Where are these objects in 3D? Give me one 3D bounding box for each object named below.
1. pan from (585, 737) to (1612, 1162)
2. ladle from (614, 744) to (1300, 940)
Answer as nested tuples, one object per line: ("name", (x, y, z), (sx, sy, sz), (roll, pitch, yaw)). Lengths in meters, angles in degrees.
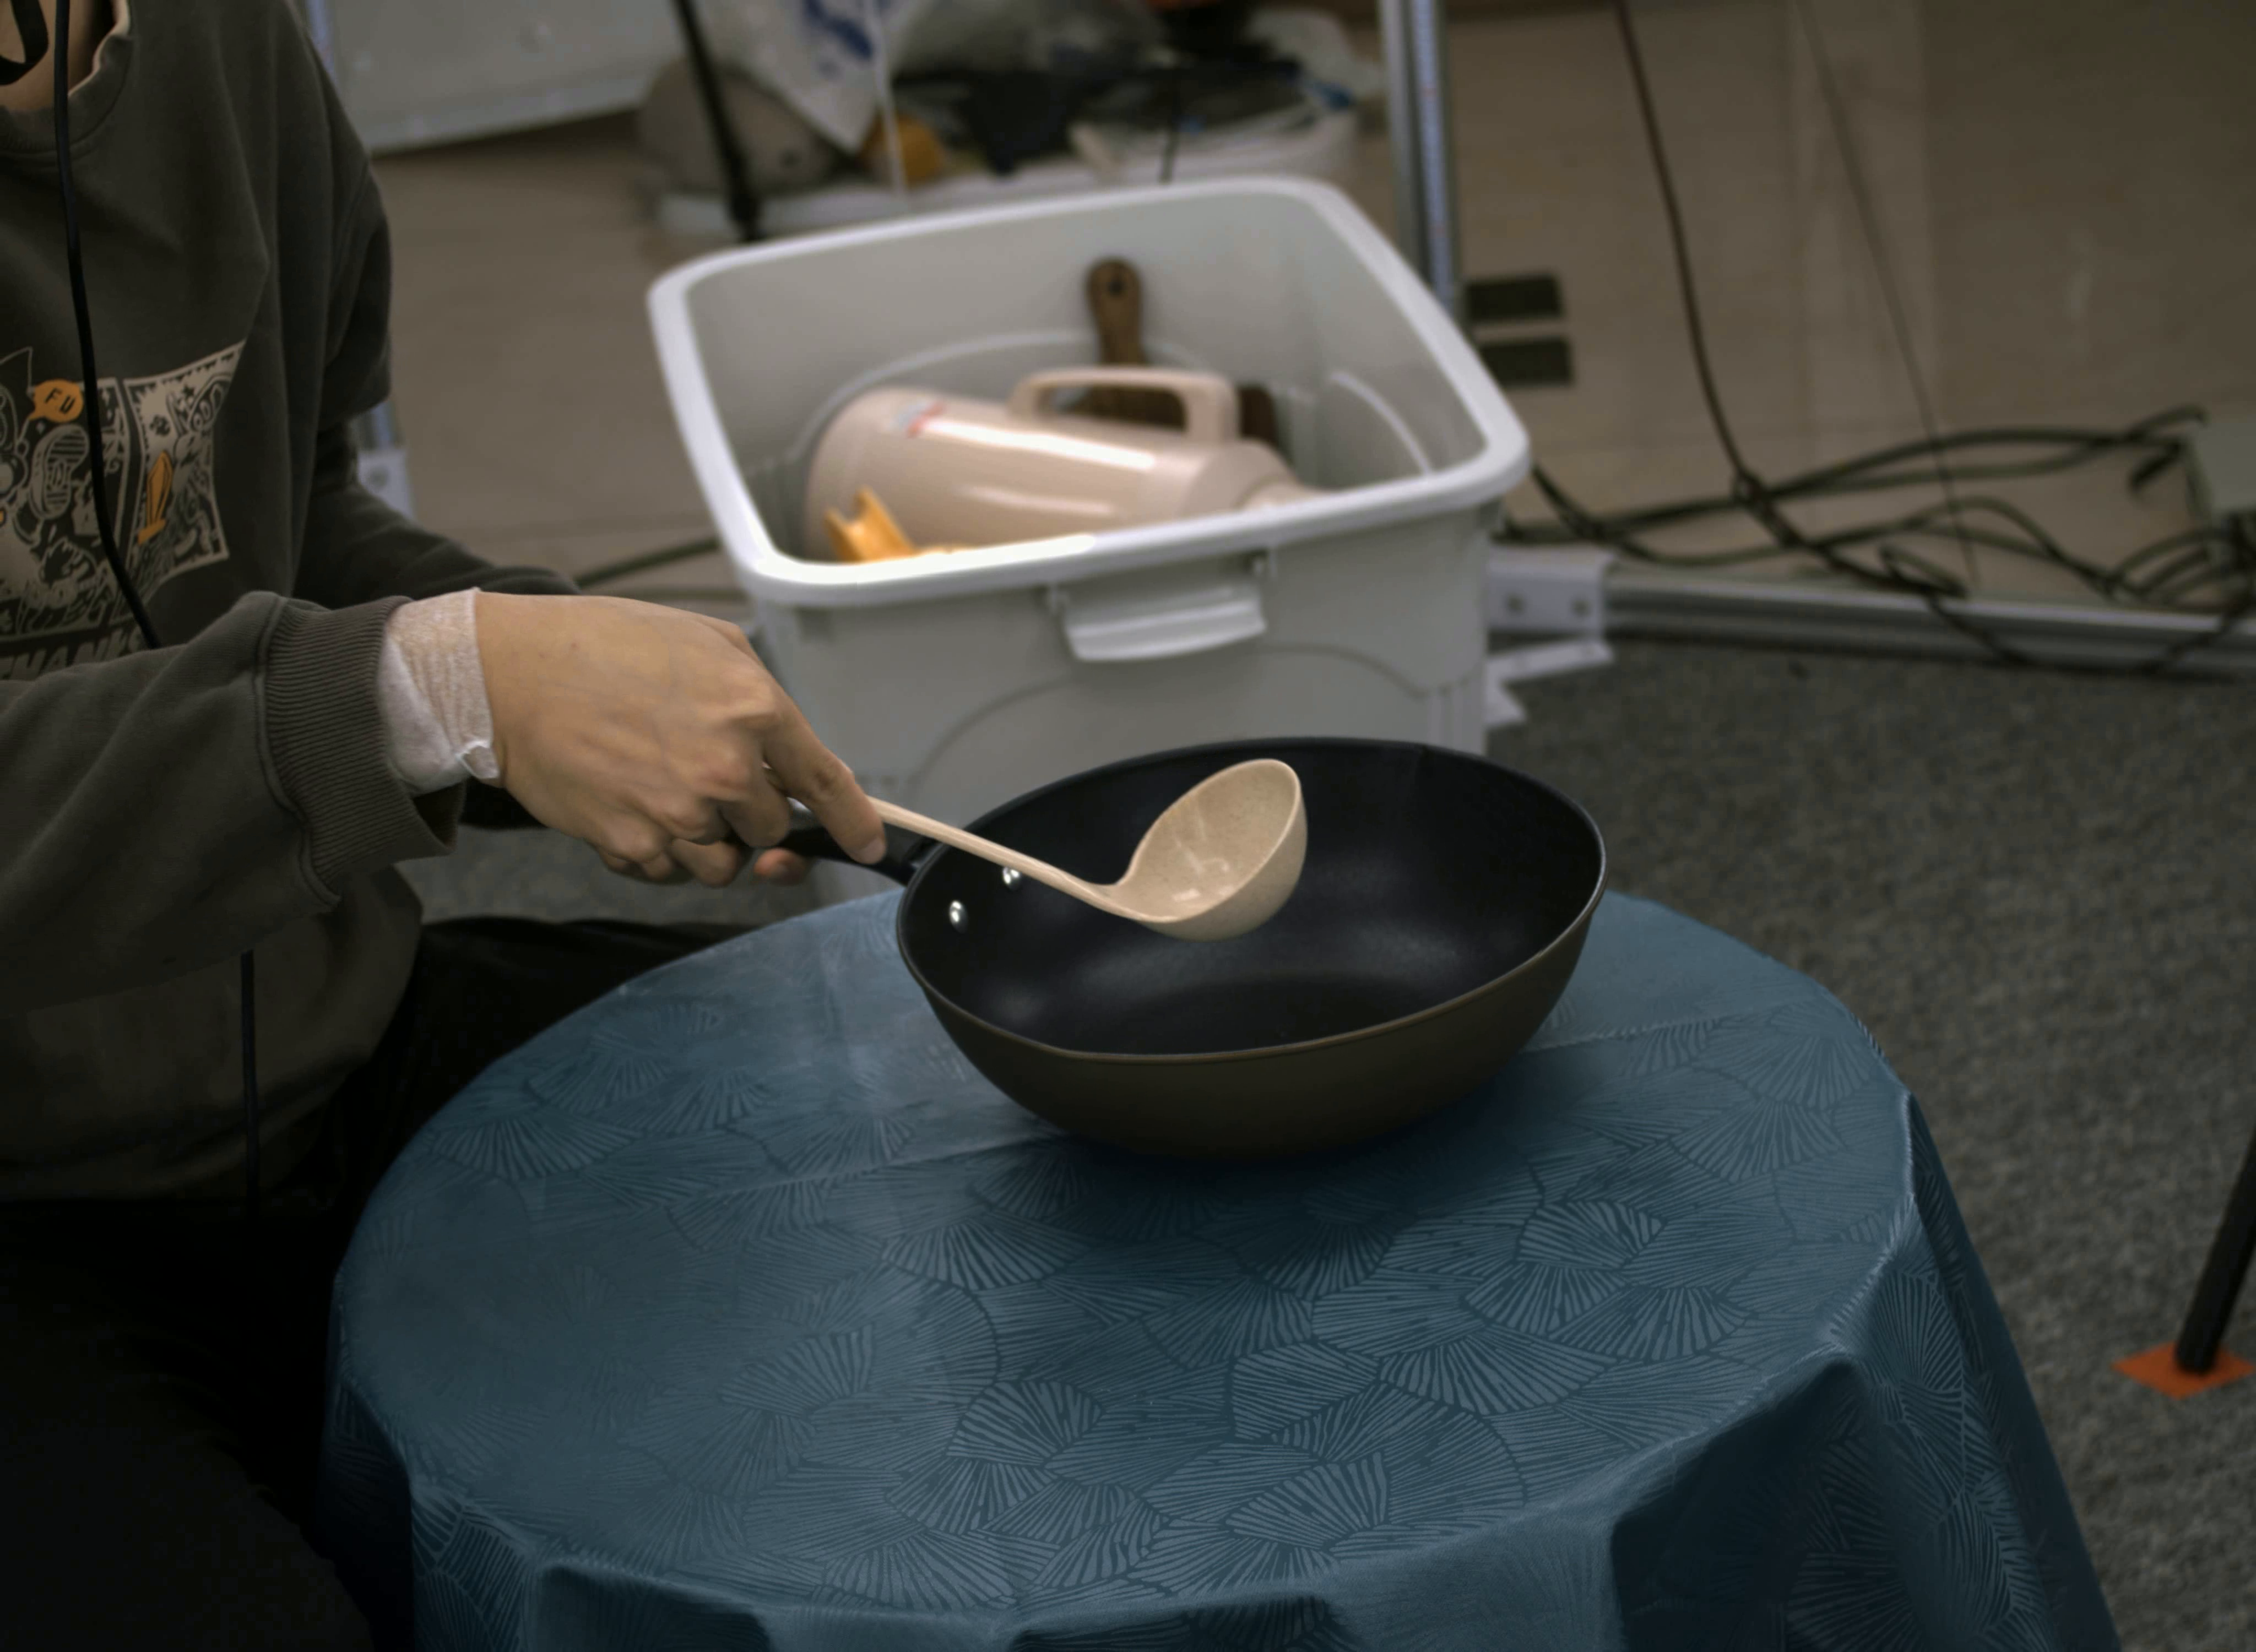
("pan", (-0.026, 0.046, 2.252), (0.461, 0.088, 0.285), (8, 29, 31))
("ladle", (-0.054, -0.021, 1.966), (0.255, 0.073, 0.071), (18, 18, -31))
